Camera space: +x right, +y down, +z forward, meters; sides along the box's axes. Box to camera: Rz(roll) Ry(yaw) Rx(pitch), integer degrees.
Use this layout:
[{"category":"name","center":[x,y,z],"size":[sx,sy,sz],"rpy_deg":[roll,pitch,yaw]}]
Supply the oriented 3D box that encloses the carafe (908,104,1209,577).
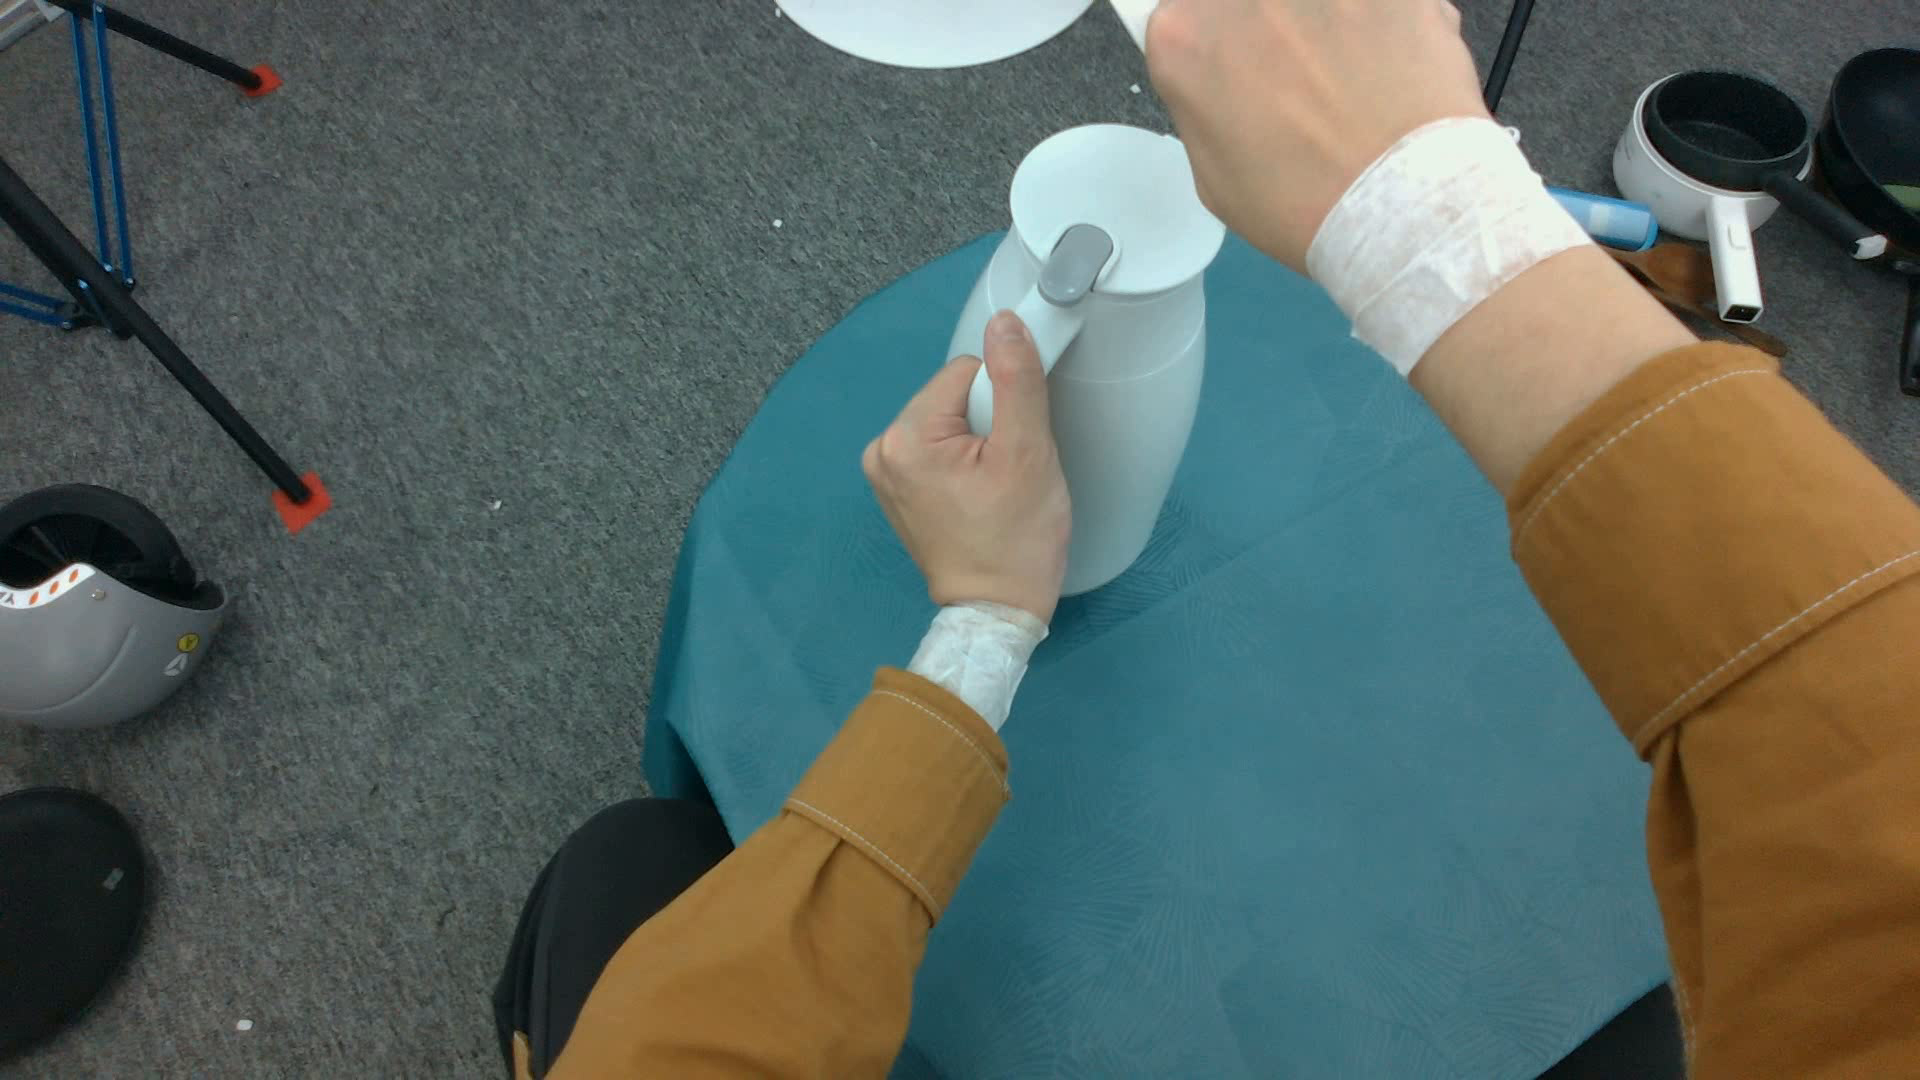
[{"category":"carafe","center":[0.039,-0.080,0.668],"size":[0.132,0.247,0.168],"rpy_deg":[31,63,10]}]

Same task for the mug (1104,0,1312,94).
[{"category":"mug","center":[0.098,-0.213,0.473],"size":[0.101,0.085,0.119],"rpy_deg":[-32,32,23]}]
